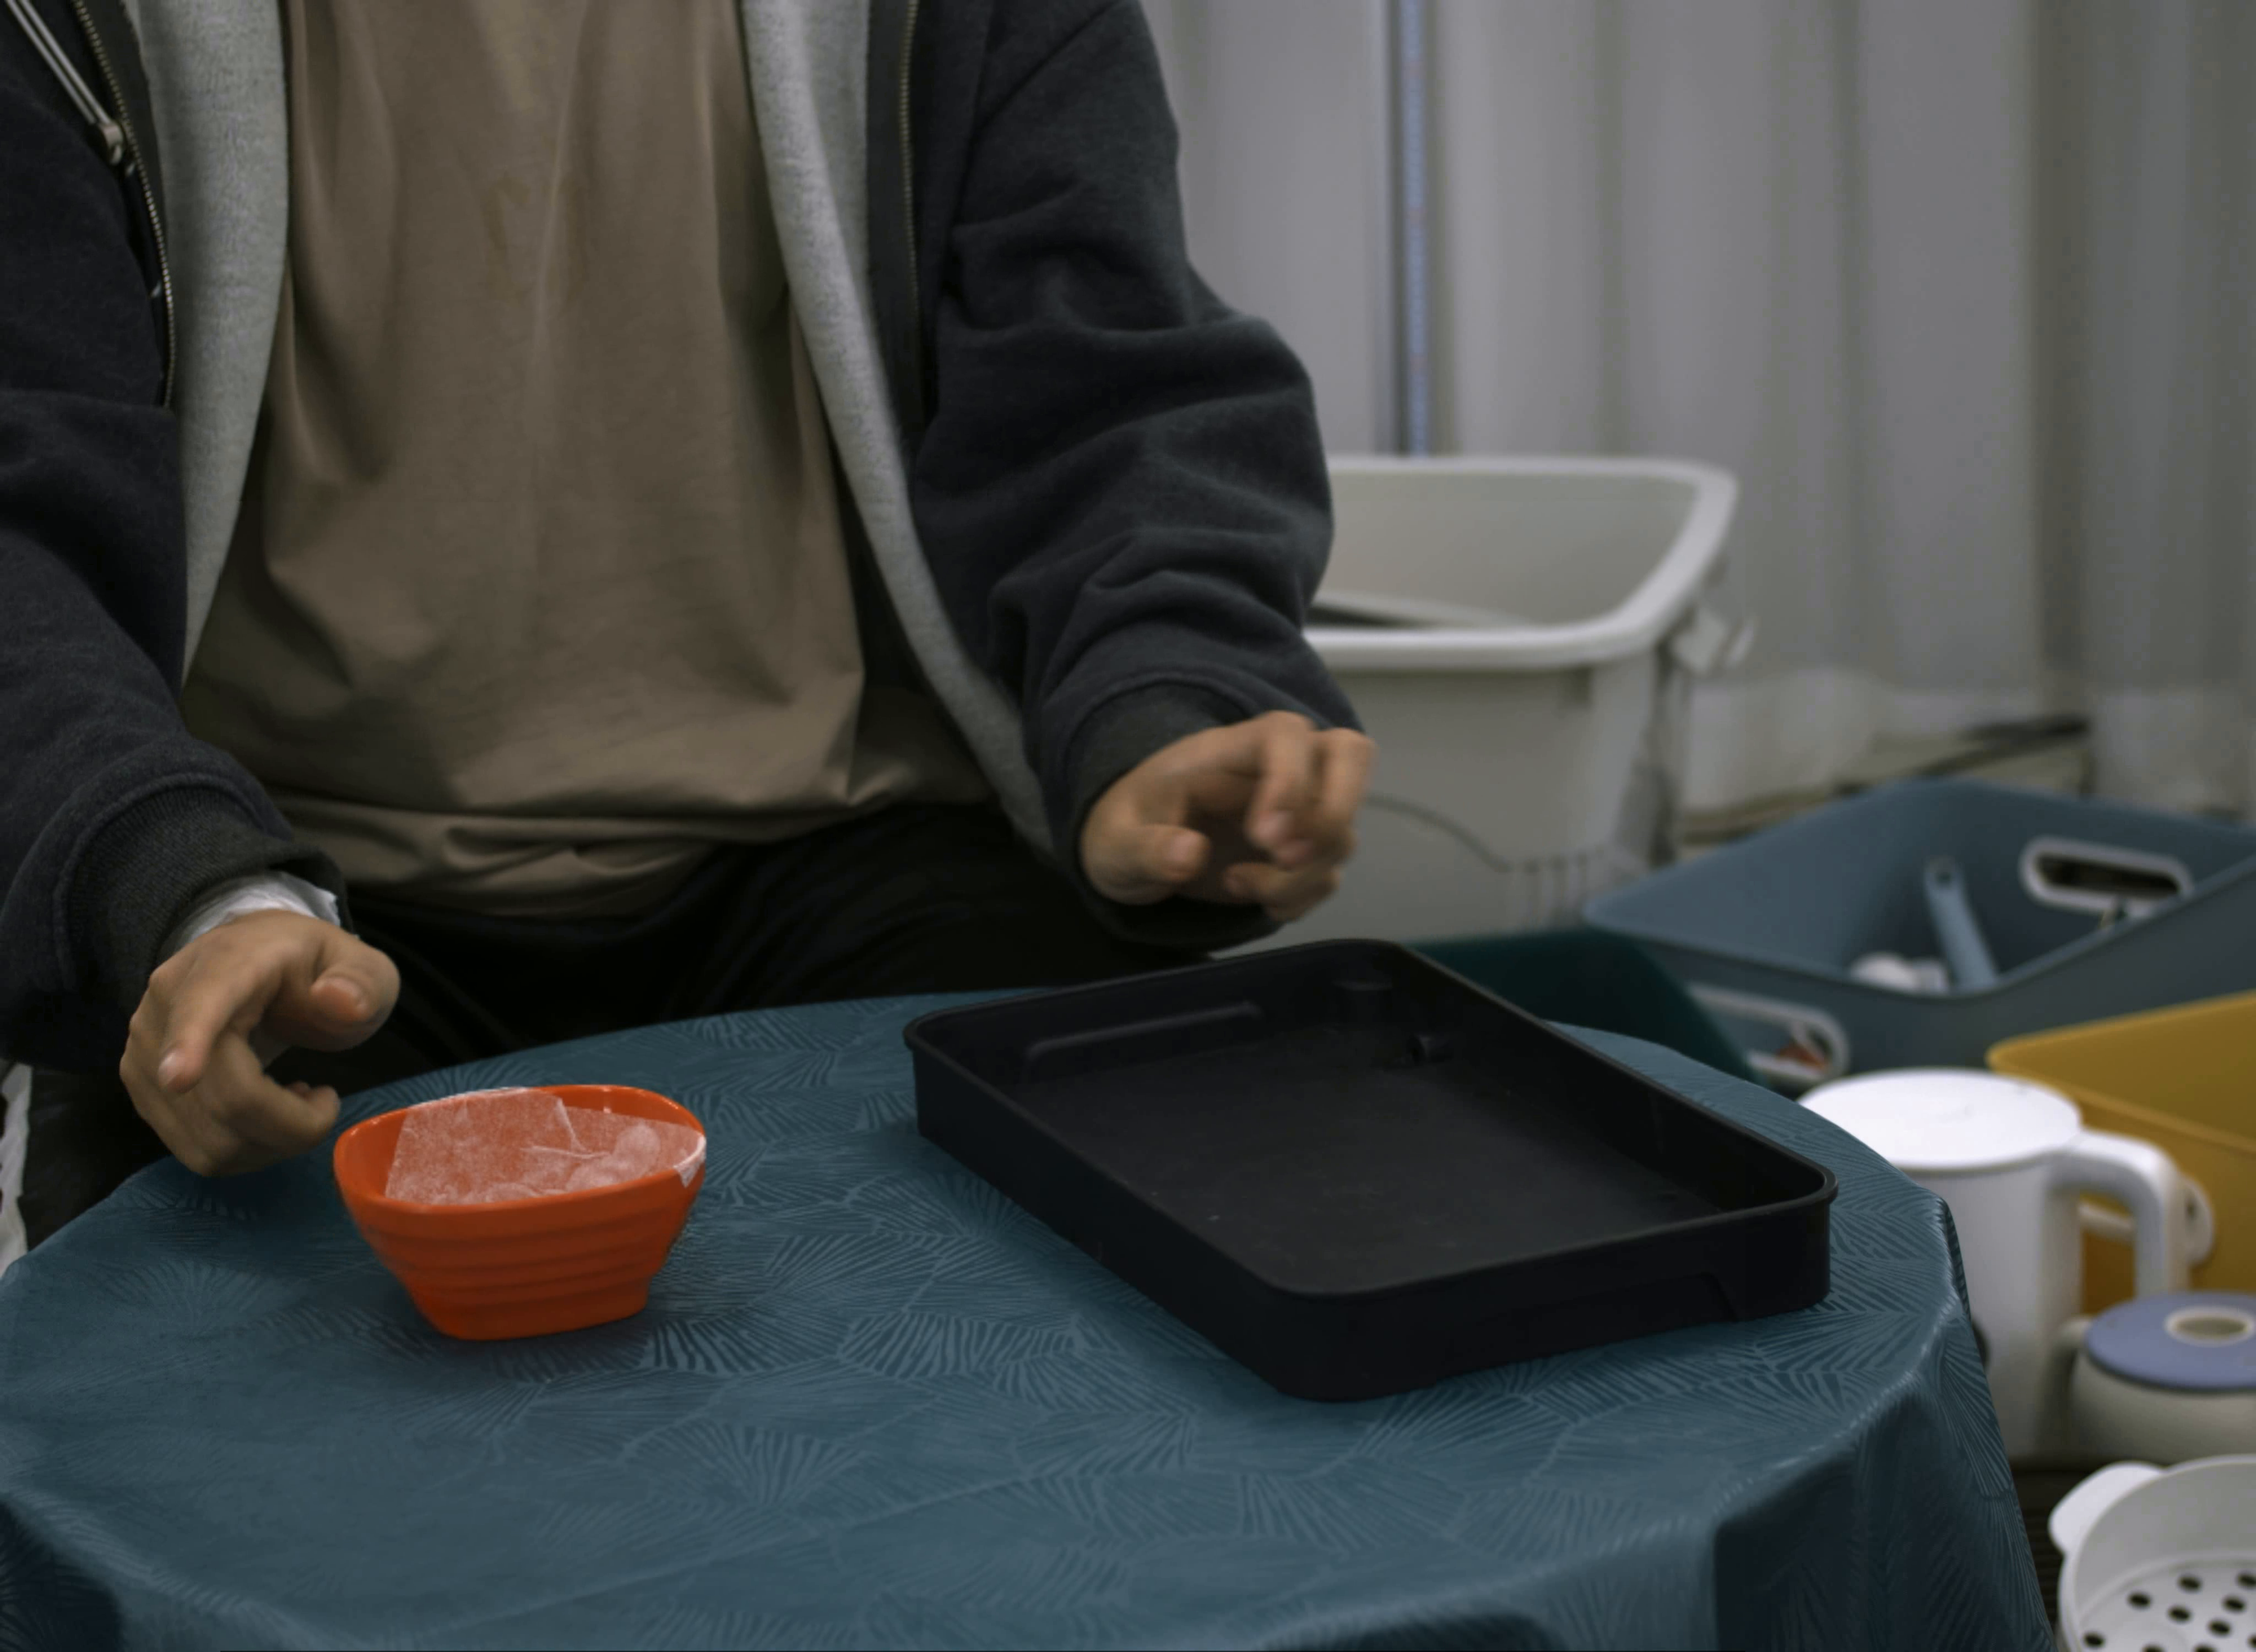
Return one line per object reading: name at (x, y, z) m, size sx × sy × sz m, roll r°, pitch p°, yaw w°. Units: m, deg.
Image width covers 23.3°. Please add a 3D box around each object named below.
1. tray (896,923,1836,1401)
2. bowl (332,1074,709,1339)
tray at (0.066, 0.098, 1.689) m, size 0.183 × 0.037 × 0.320 m, roll -9°, pitch 17°, yaw -22°
bowl at (-0.180, 0.116, 1.640) m, size 0.118 × 0.051 × 0.120 m, roll -3°, pitch 16°, yaw 1°
